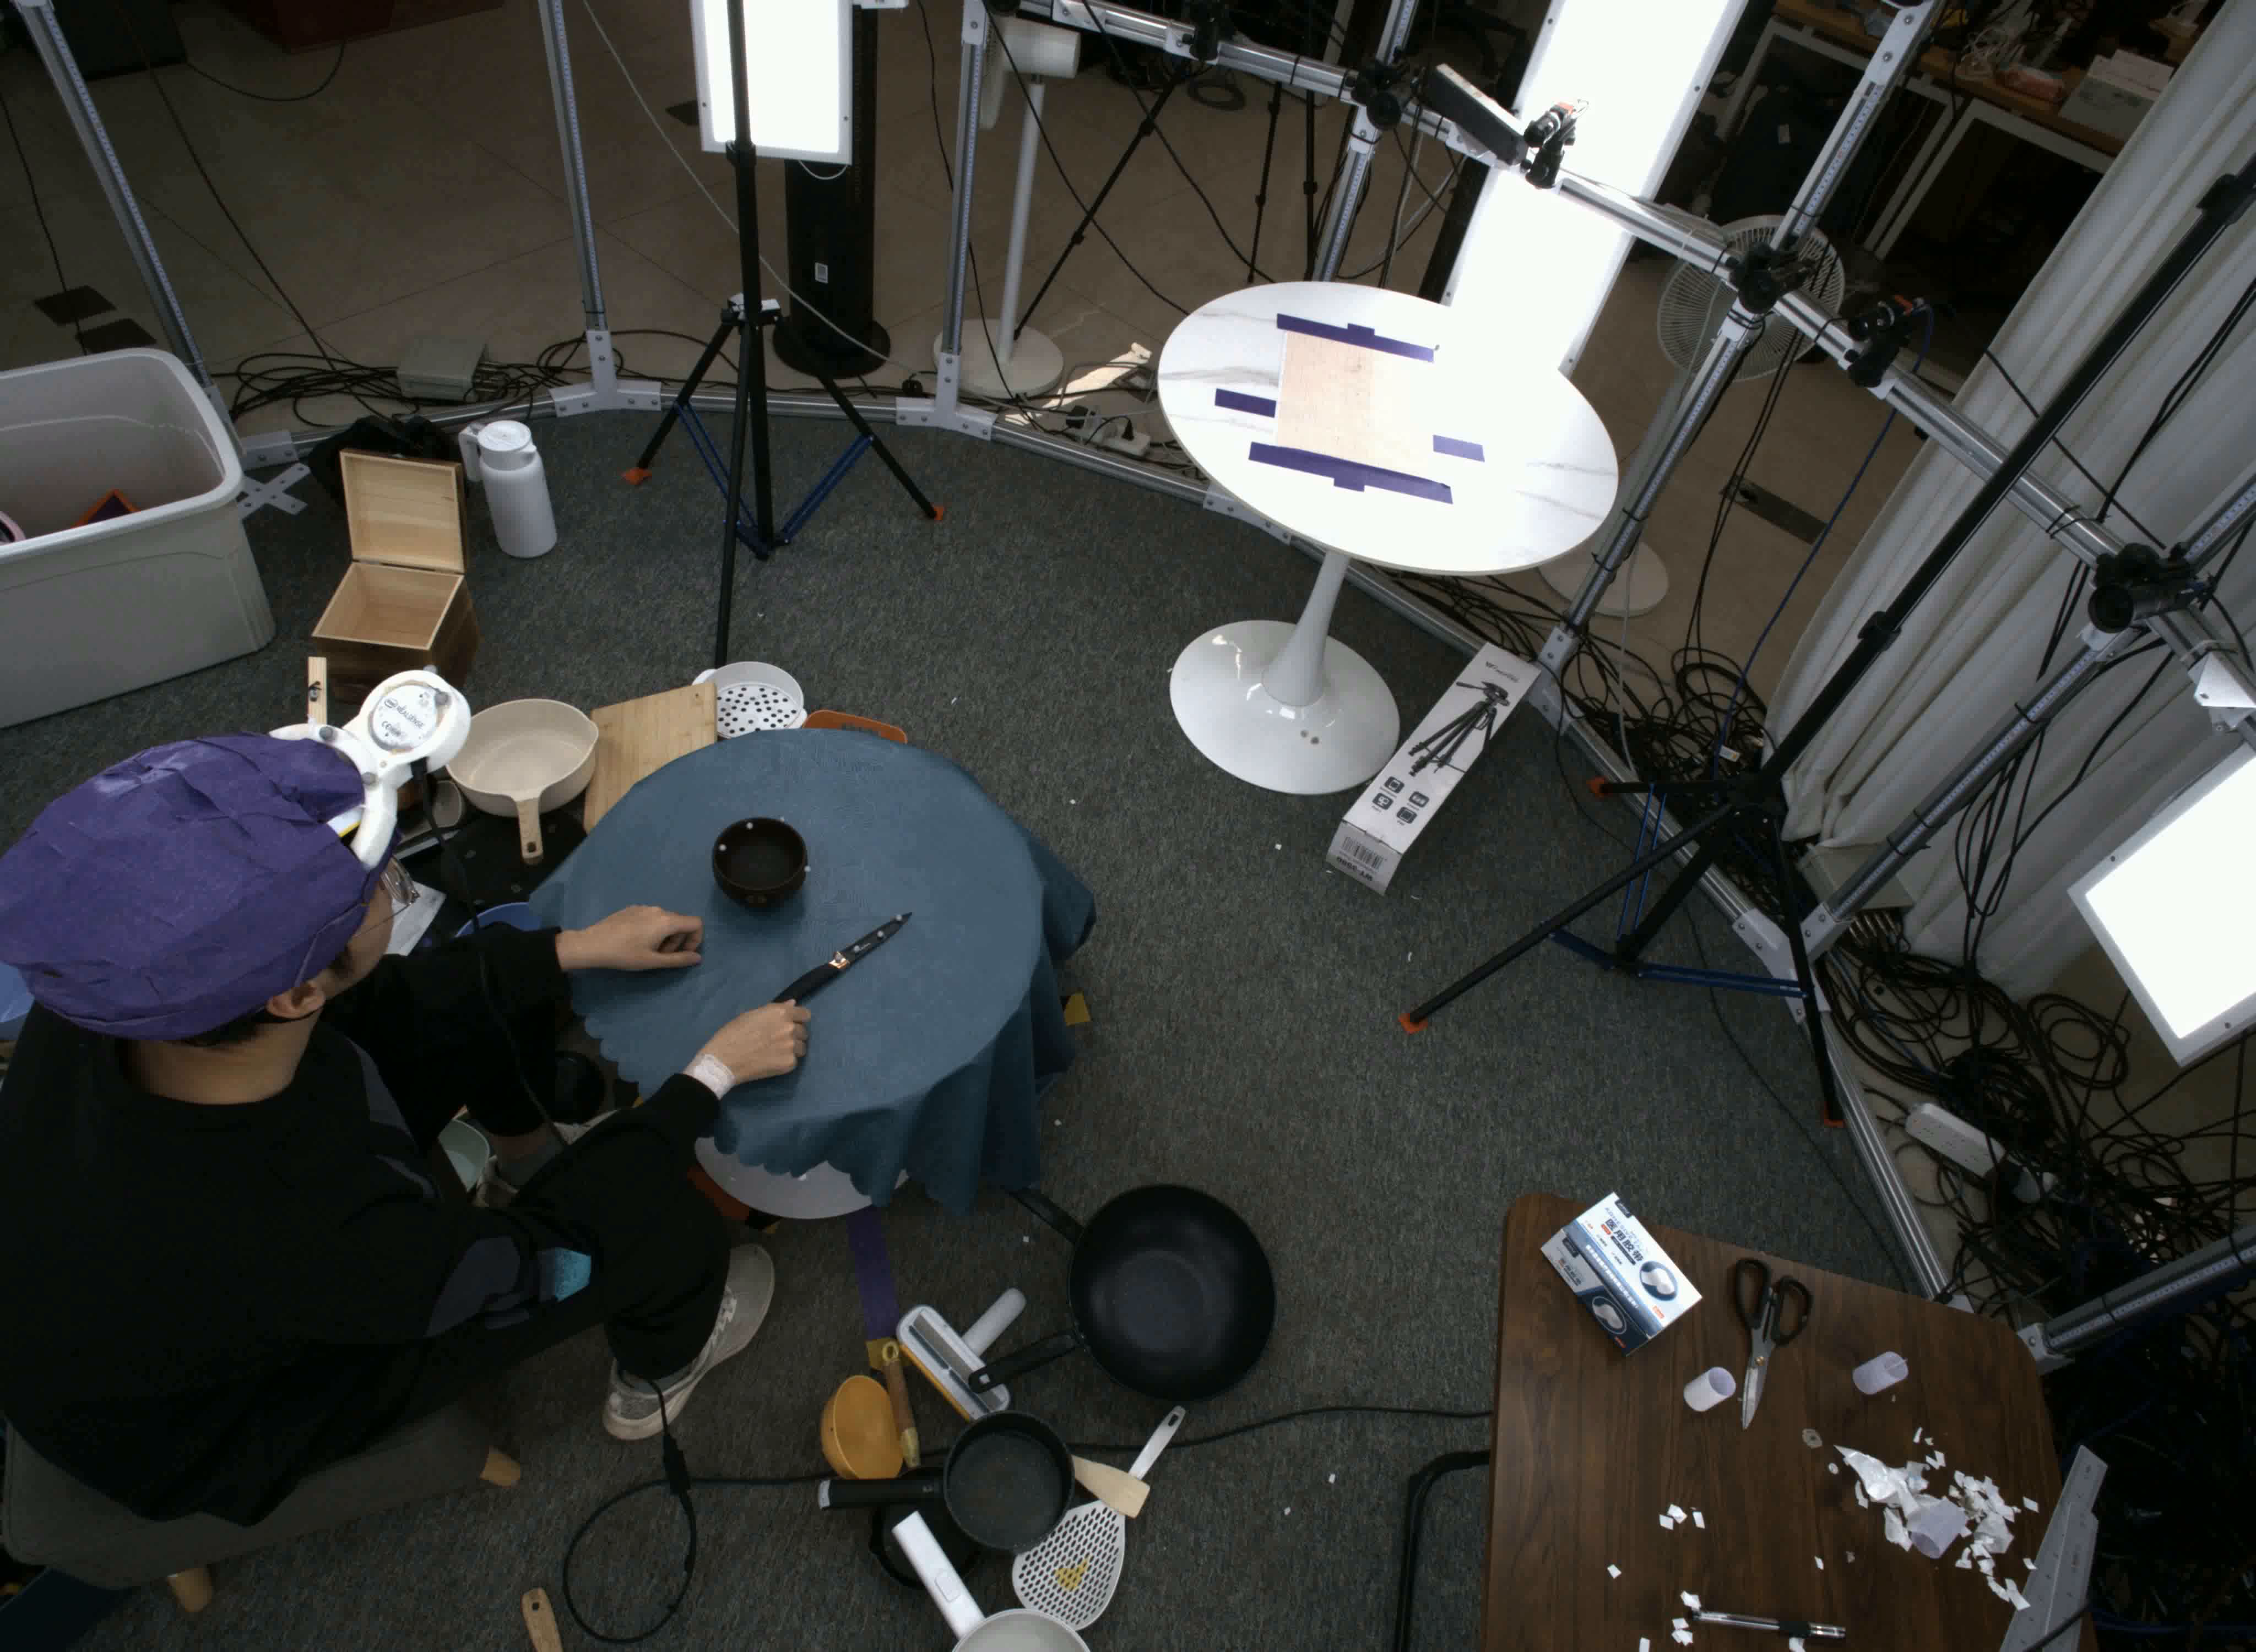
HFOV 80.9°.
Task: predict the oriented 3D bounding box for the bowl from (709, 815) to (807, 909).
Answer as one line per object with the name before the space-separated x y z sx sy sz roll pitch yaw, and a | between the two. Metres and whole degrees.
bowl | -0.460 0.052 1.617 0.117 0.071 0.116 6 53 -7

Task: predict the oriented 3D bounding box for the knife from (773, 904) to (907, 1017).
knife | -0.351 0.161 1.606 0.025 0.018 0.226 34 51 21
